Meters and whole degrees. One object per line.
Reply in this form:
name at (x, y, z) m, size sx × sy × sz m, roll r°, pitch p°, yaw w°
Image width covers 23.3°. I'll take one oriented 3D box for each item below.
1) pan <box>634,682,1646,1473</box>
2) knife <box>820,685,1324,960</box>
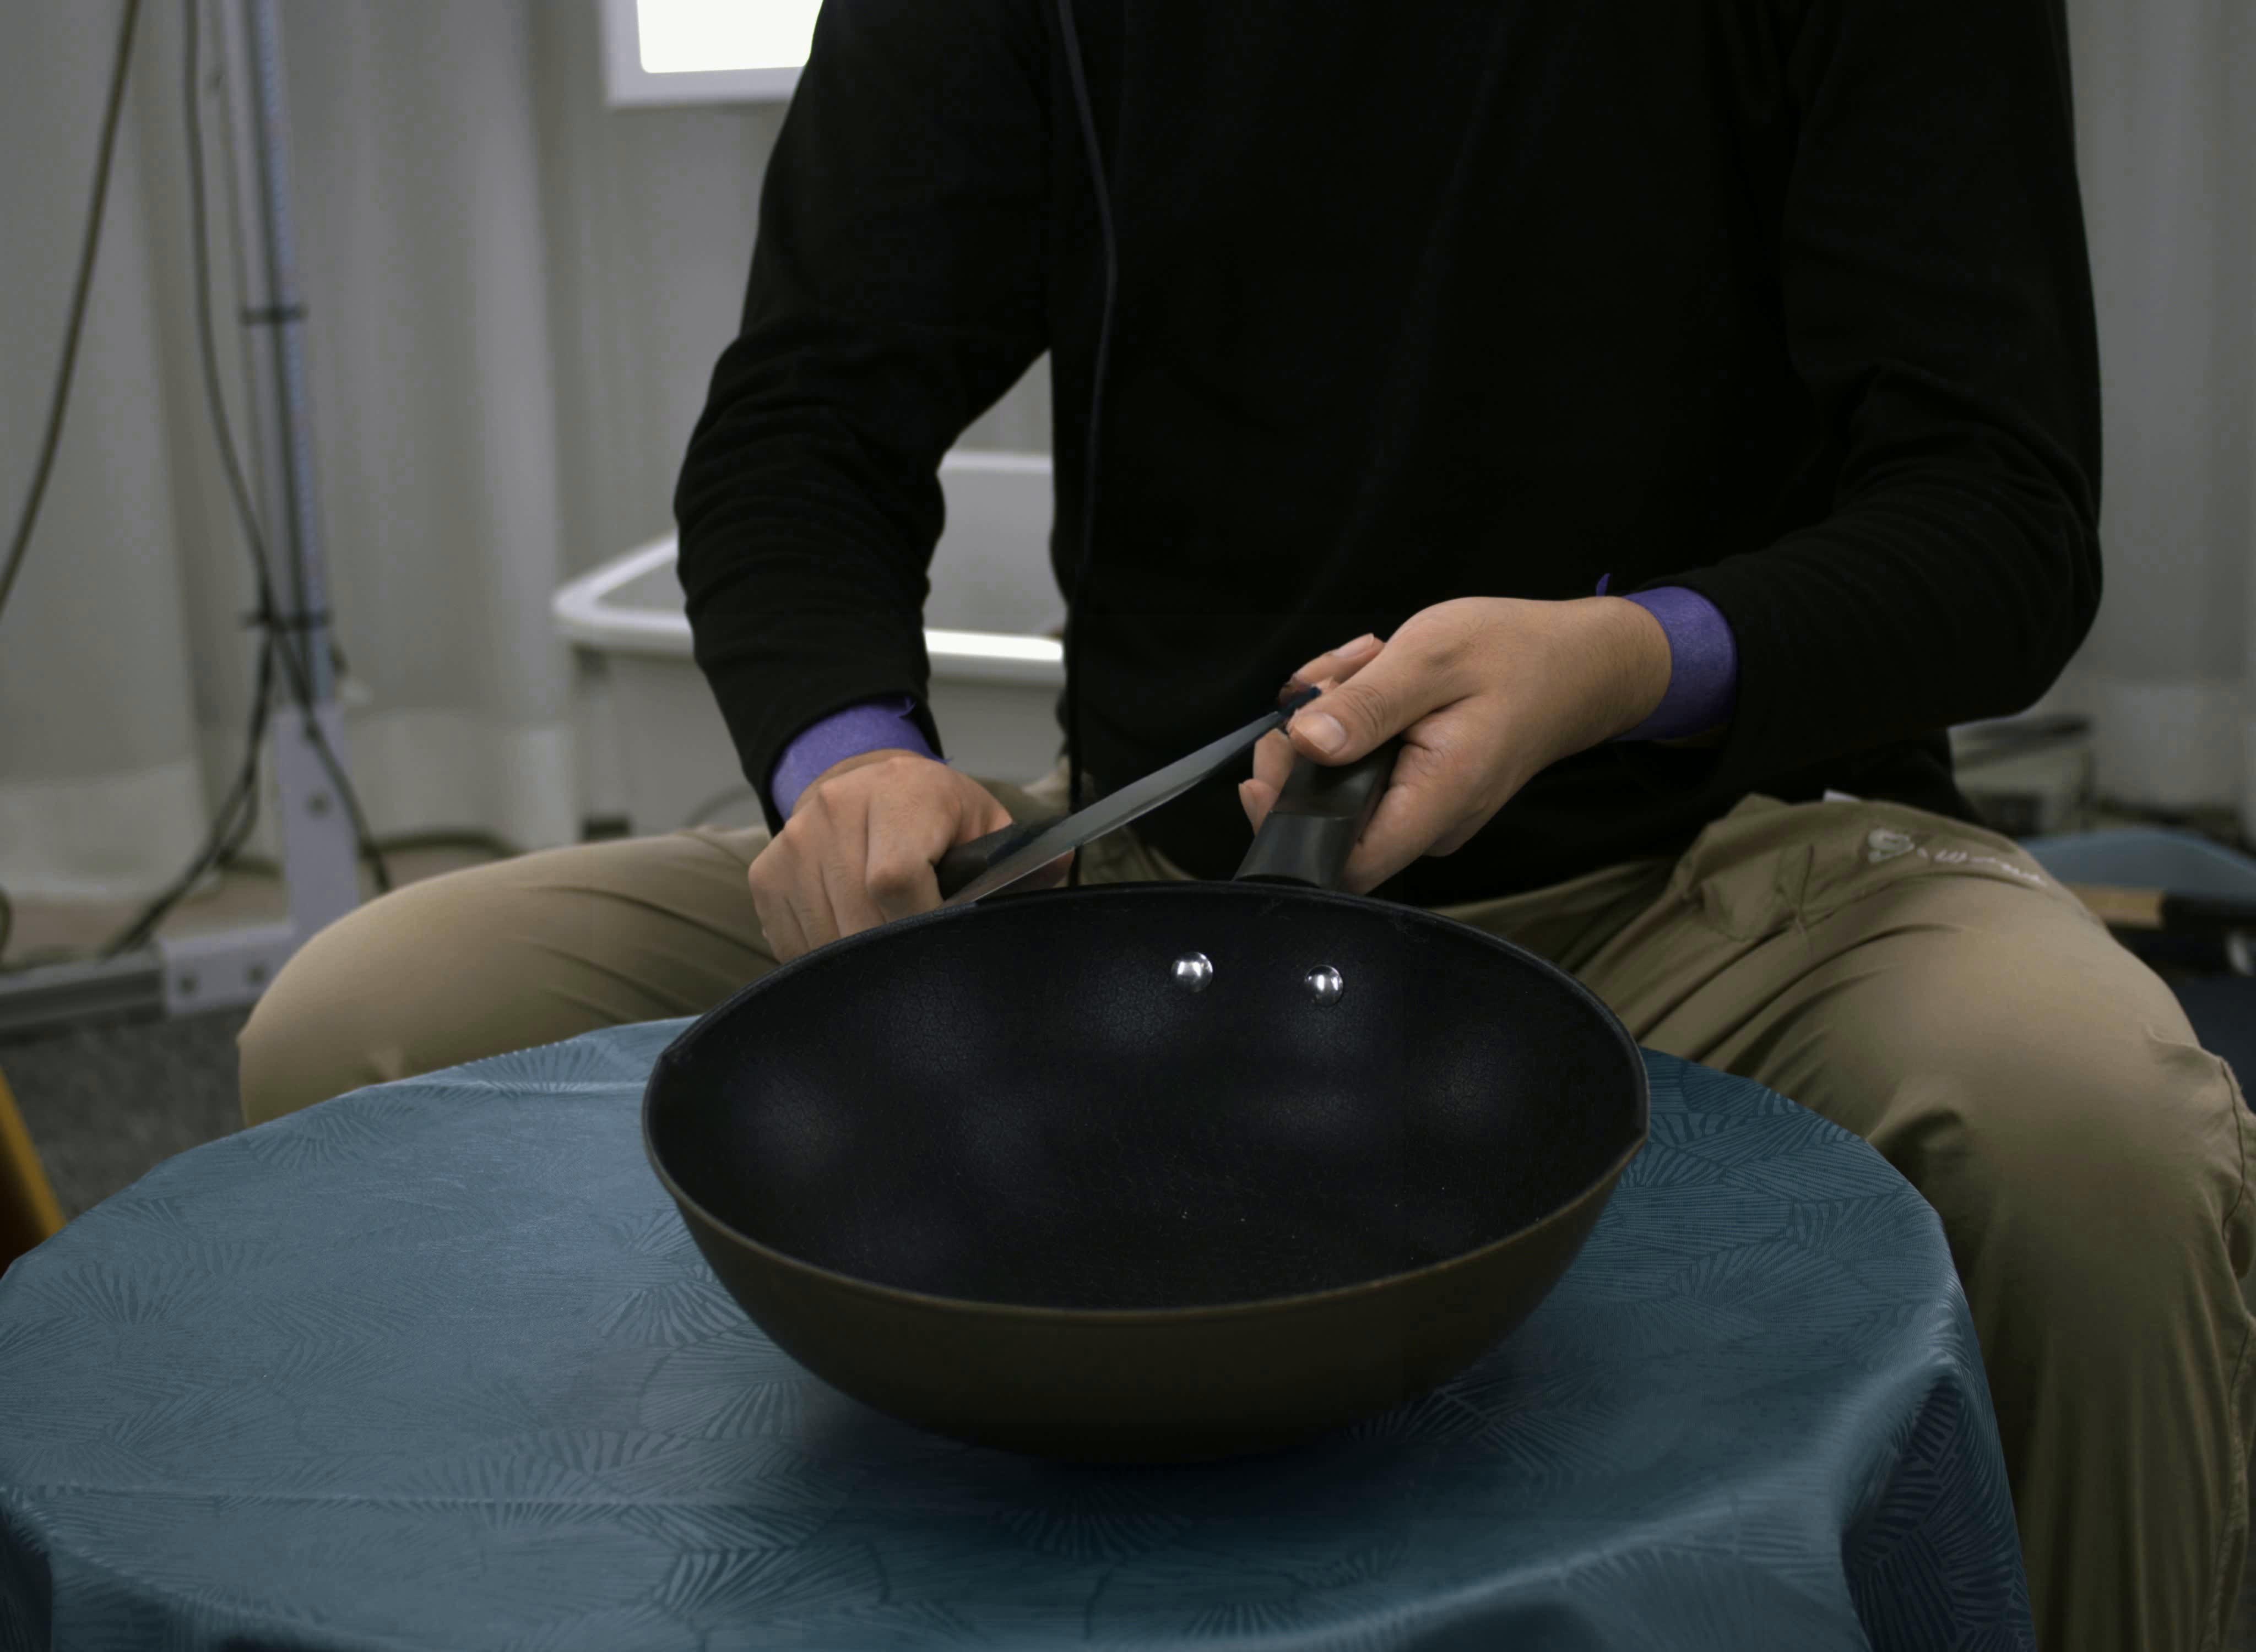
pan at (0.029, 0.073, 1.626) m, size 0.288 × 0.086 × 0.466 m, roll 4°, pitch 23°, yaw 16°
knife at (-0.030, 0.008, 1.695) m, size 0.081 × 0.021 × 0.301 m, roll -35°, pitch 4°, yaw -27°
